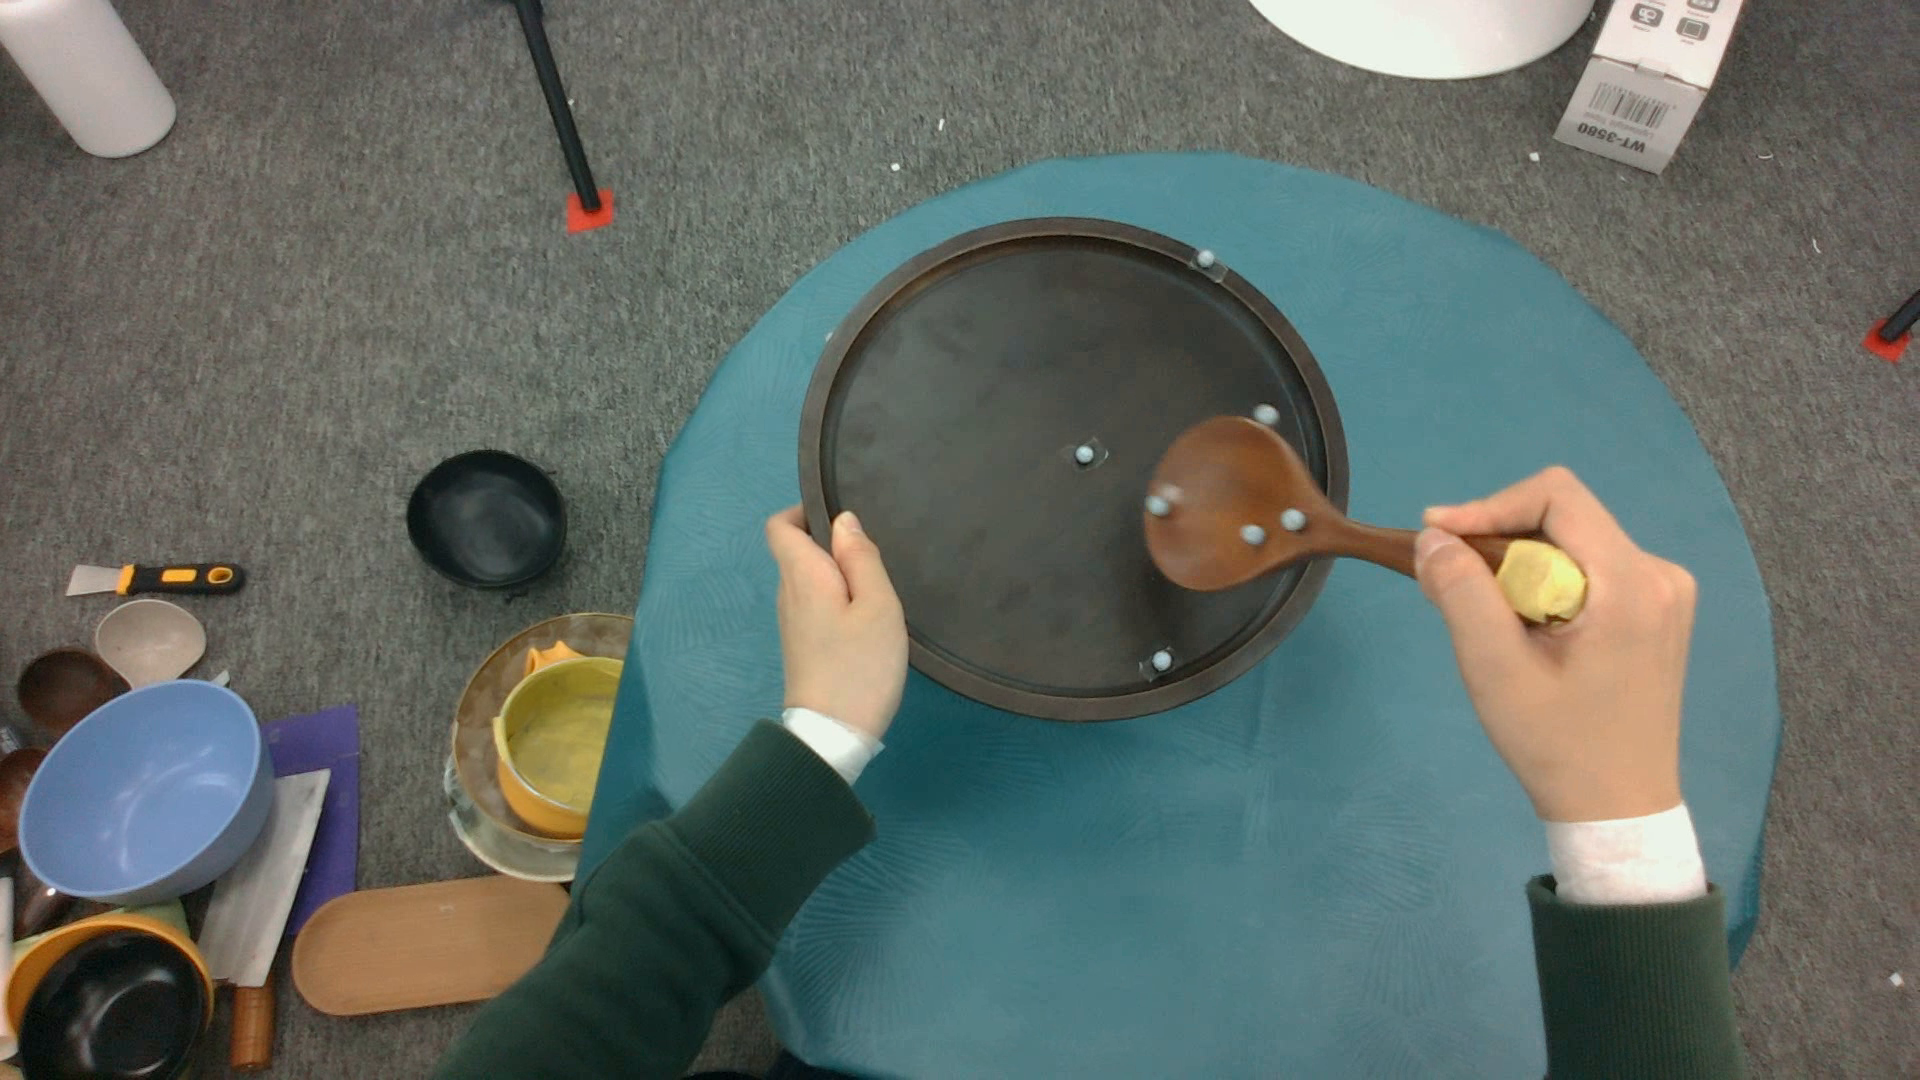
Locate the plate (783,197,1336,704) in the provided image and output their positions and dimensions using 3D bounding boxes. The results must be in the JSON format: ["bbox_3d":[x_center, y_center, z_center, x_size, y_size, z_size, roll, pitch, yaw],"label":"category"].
[{"bbox_3d":[0.046,-0.046,0.636,0.255,0.029,0.255,1,68,-3],"label":"plate"}]

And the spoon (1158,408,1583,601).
[{"bbox_3d":[0.139,-0.009,0.508,0.017,0.215,0.075,23,89,-26],"label":"spoon"}]
